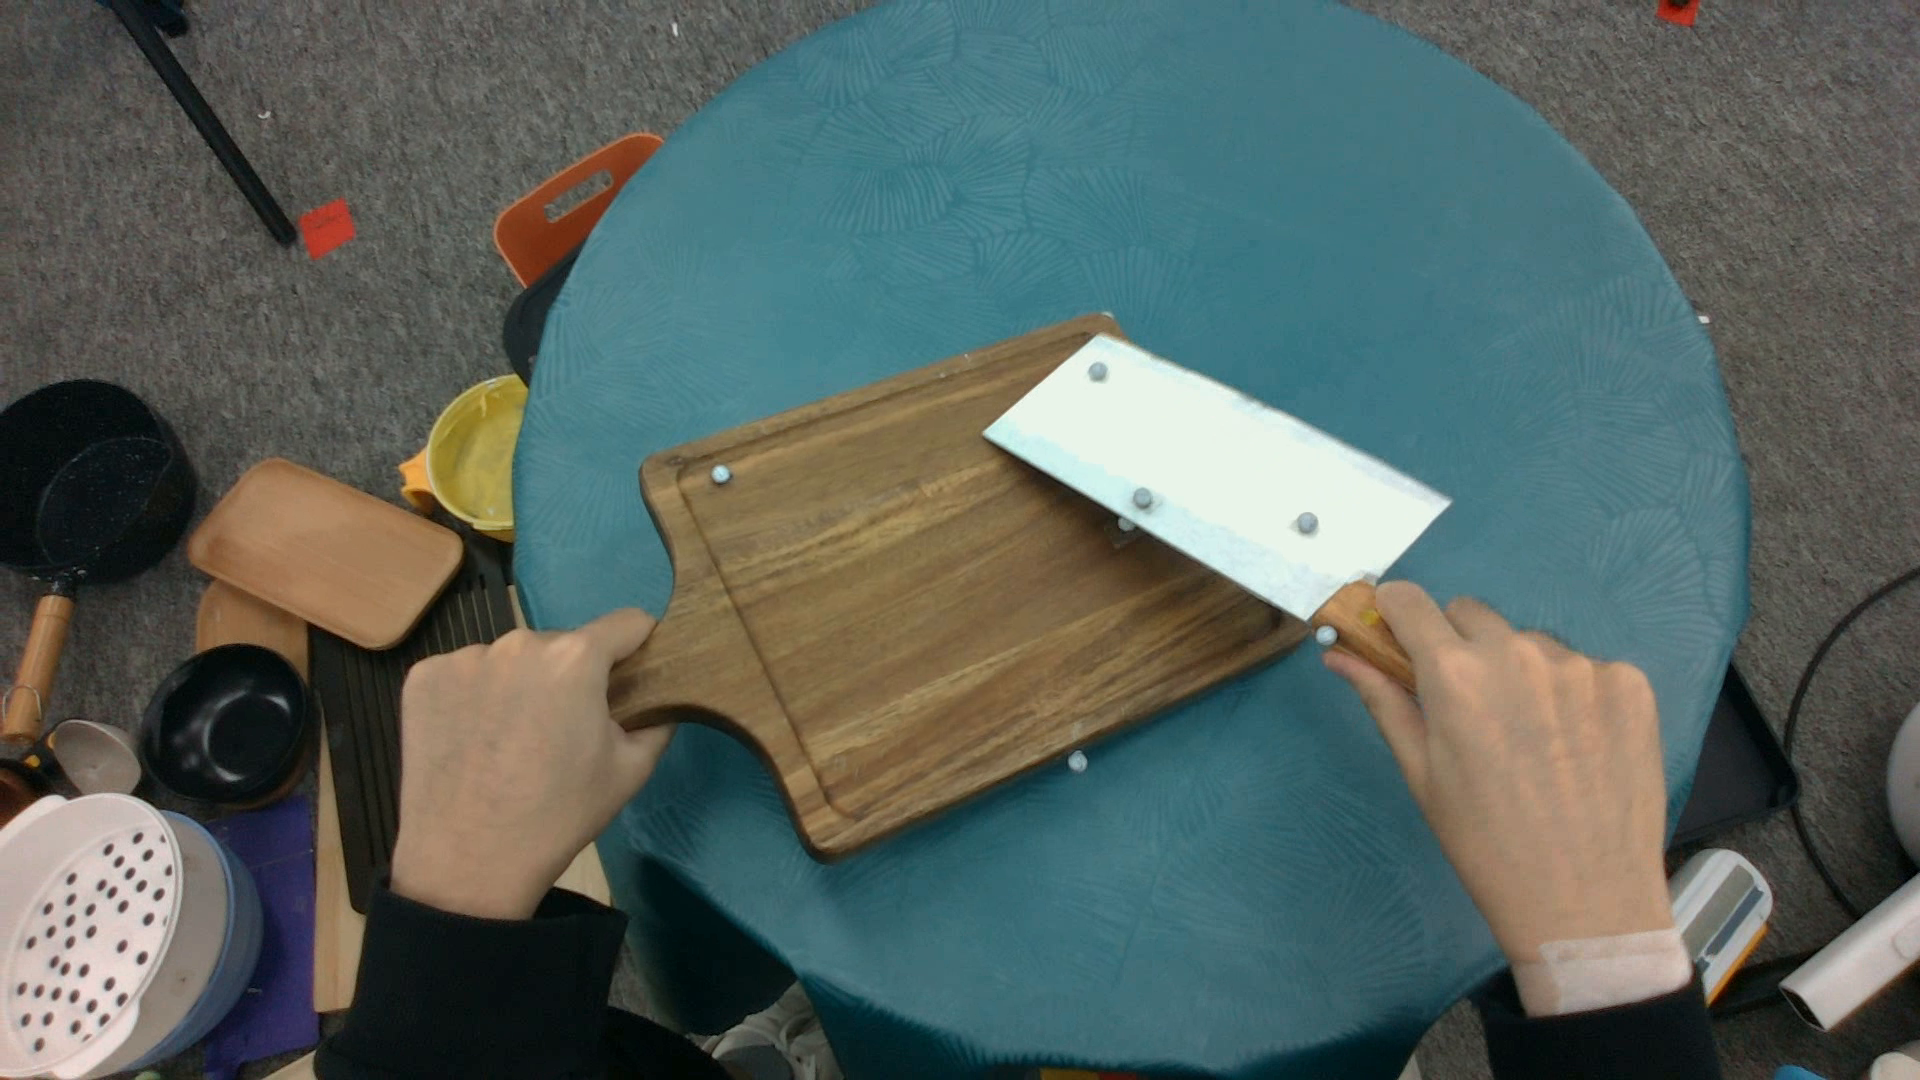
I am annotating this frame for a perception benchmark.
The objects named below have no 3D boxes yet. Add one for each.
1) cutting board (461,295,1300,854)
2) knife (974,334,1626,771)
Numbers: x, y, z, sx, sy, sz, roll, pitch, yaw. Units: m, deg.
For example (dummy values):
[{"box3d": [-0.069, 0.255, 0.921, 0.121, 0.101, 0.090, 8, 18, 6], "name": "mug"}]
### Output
[{"box3d": [-0.040, 0.017, 0.598, 0.353, 0.023, 0.201, -22, 67, -22], "name": "cutting board"}, {"box3d": [0.142, -0.013, 0.583, 0.306, 0.021, 0.093, 33, 63, 30], "name": "knife"}]
